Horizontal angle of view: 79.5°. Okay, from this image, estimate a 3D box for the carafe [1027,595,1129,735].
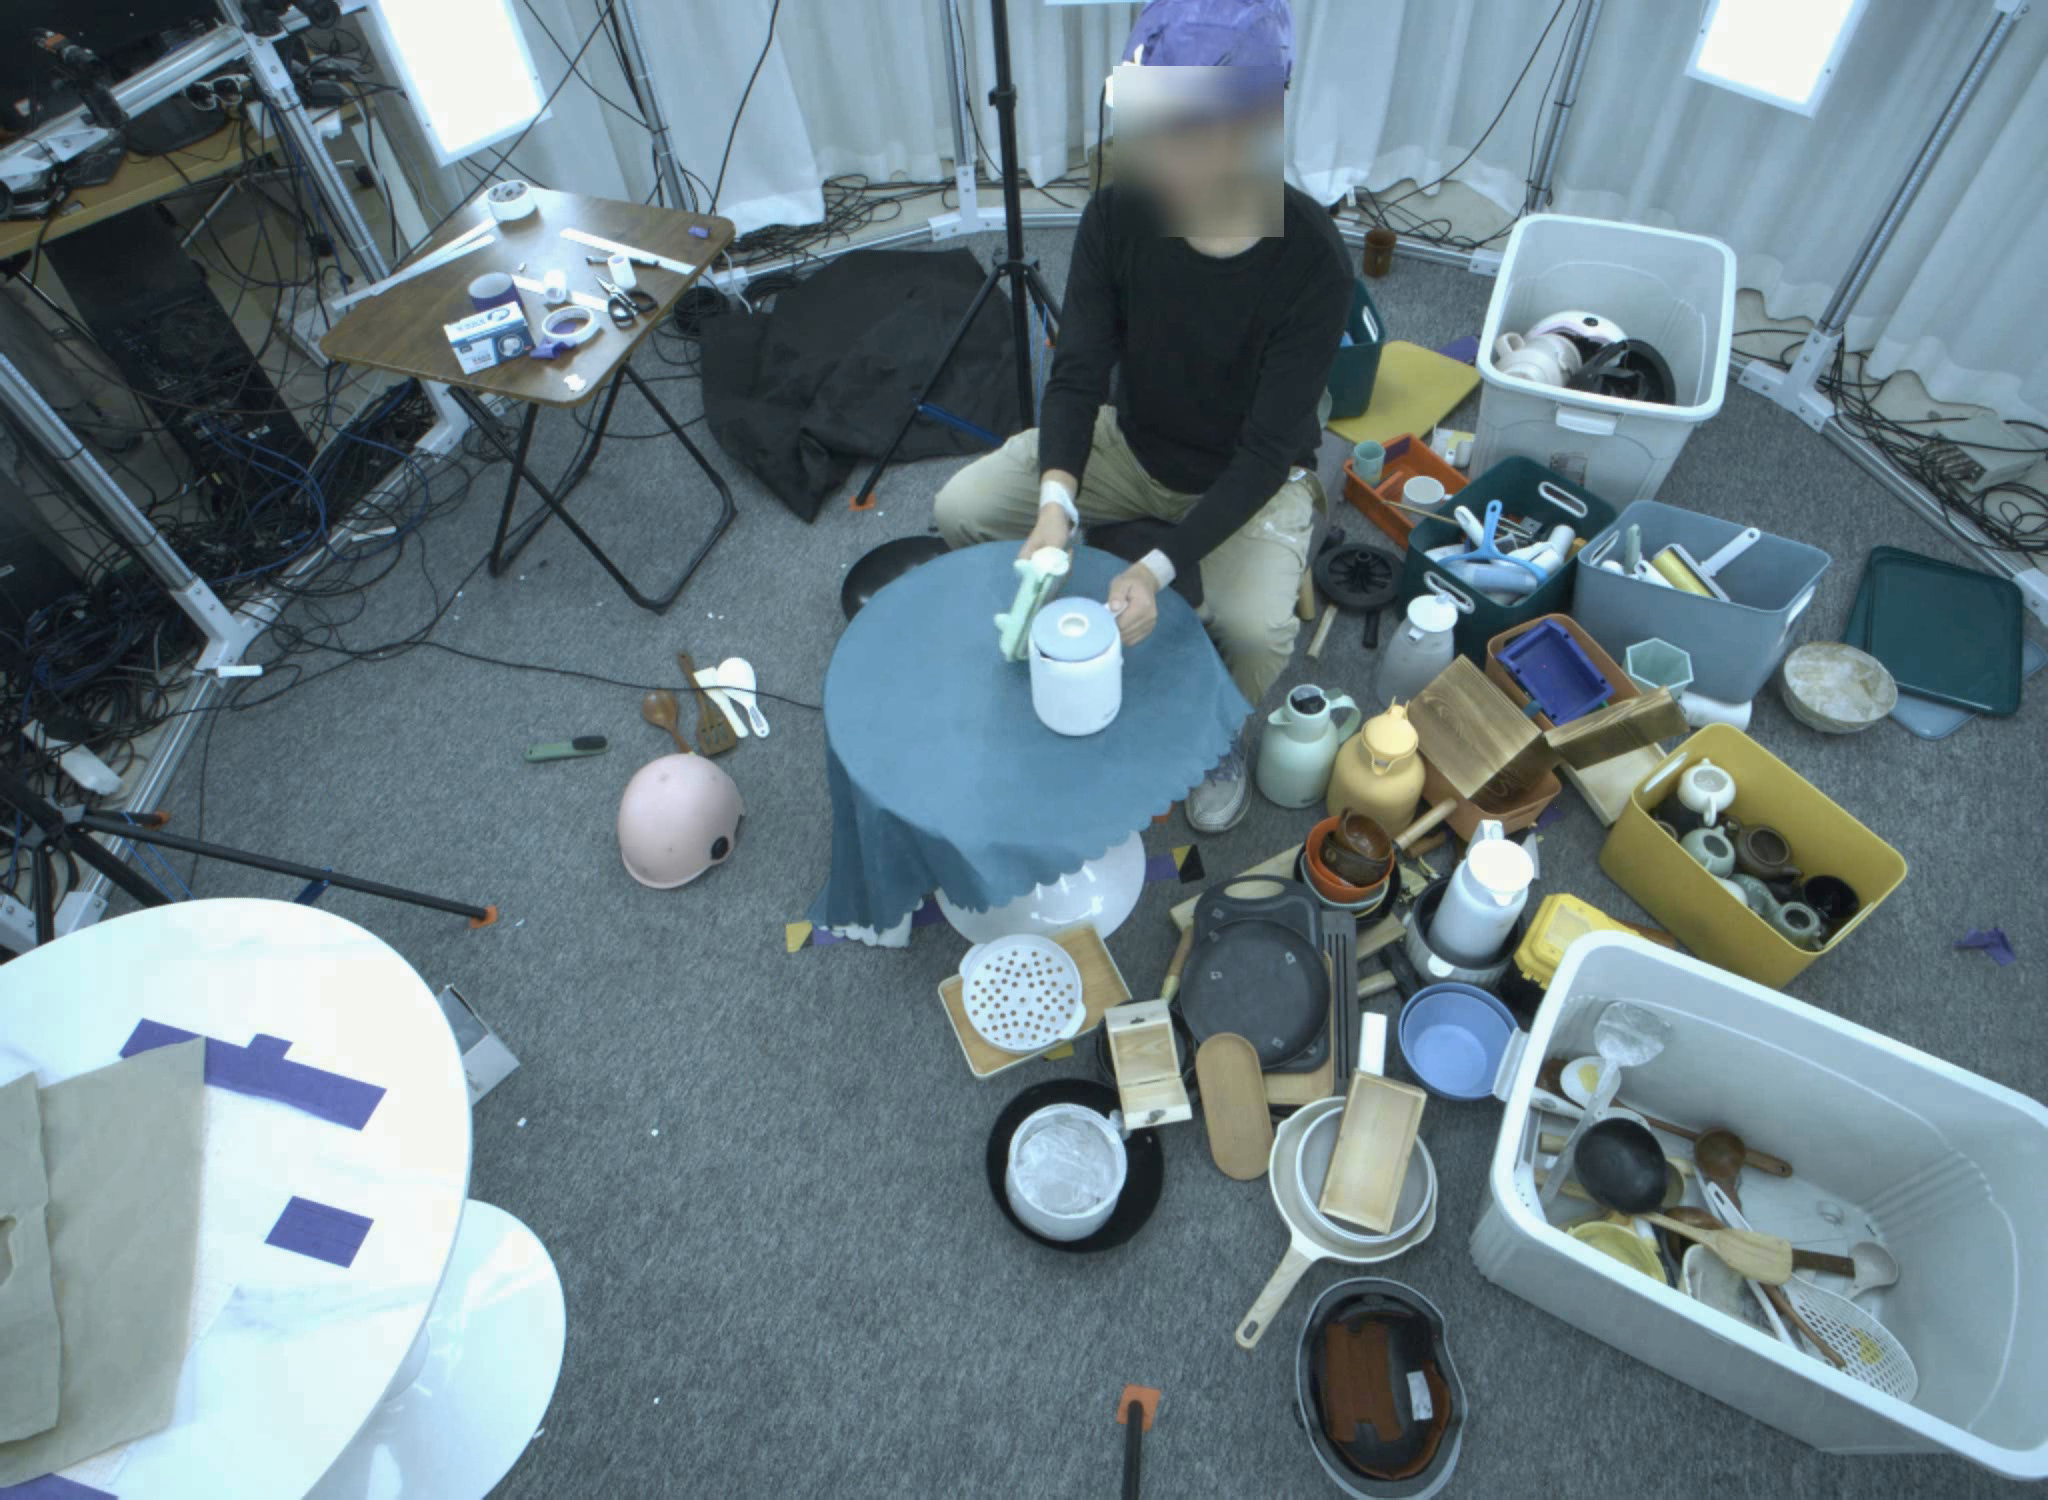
[{"bbox_3d":[0.089,-0.135,1.775,0.130,0.184,0.192,35,61,24],"label":"carafe"}]

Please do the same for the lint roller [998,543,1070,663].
[{"bbox_3d":[0.019,-0.254,1.832,0.083,0.199,0.182,15,50,-7],"label":"lint roller"}]
